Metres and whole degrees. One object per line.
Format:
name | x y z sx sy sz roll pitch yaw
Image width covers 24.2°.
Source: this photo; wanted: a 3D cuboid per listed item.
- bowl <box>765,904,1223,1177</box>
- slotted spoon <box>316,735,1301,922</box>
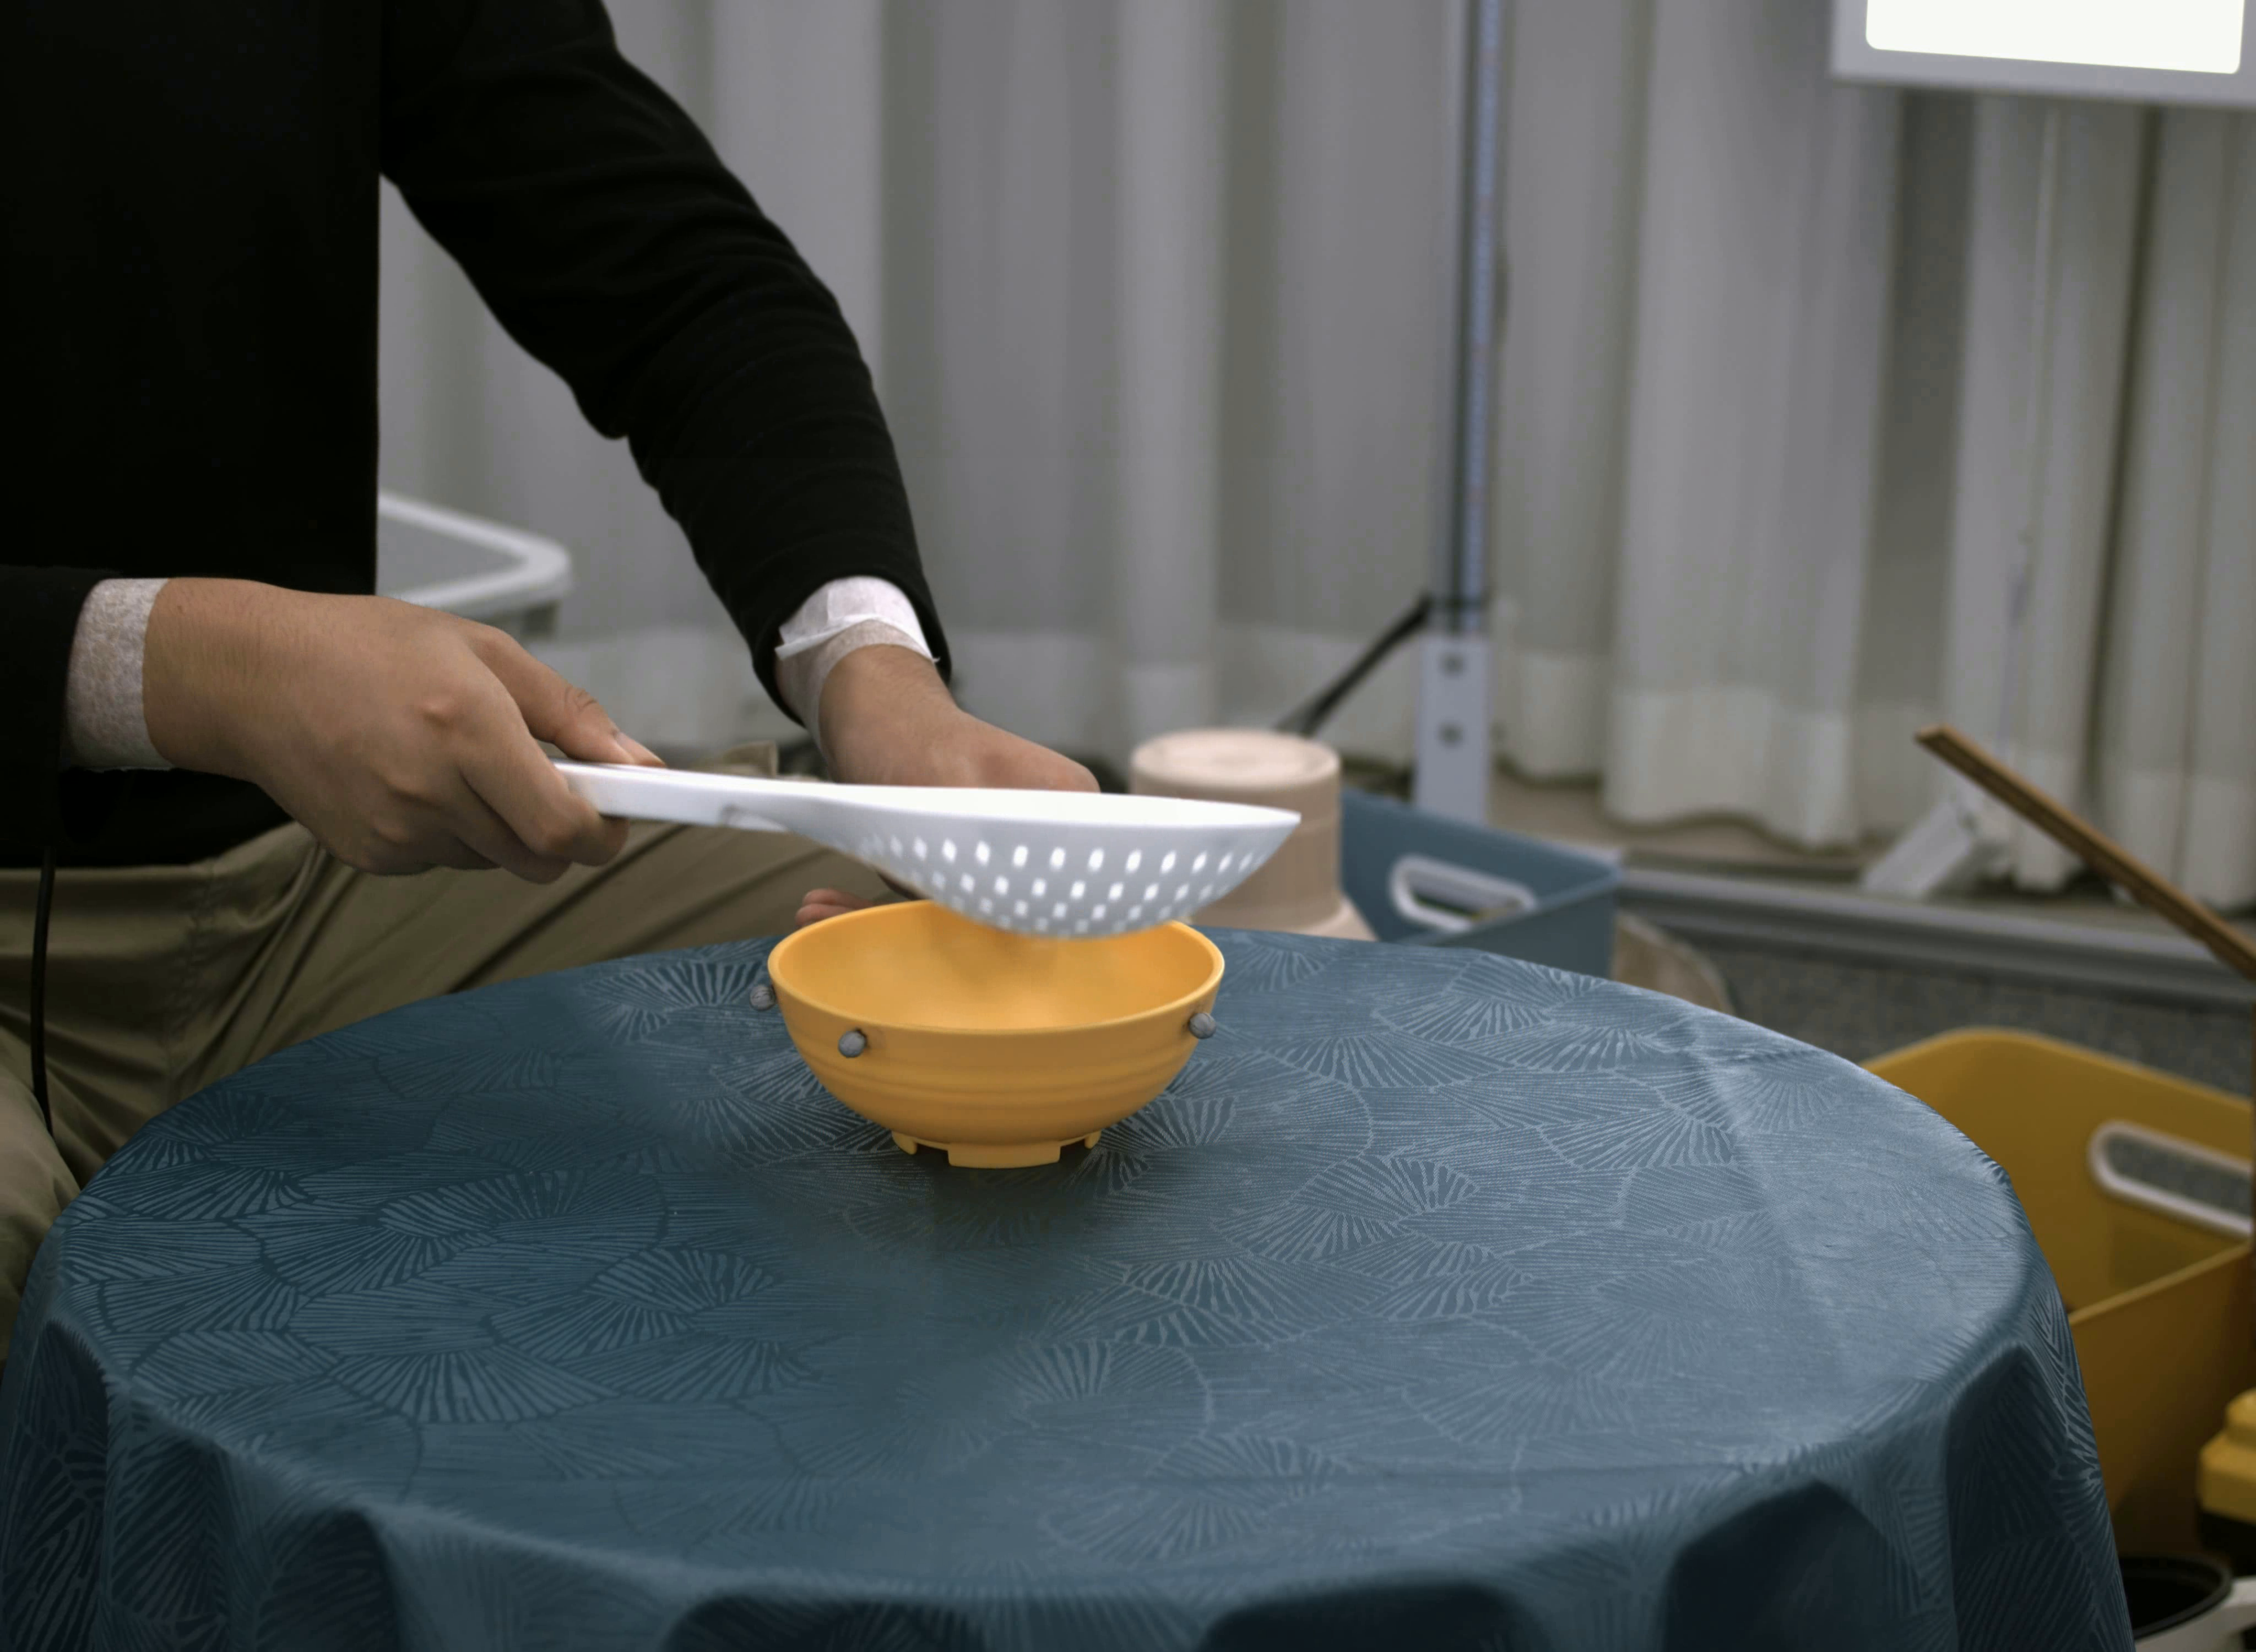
bowl | -0.043 0.072 1.664 0.145 0.060 0.144 3 15 0
slotted spoon | -0.108 -0.010 1.596 0.345 0.046 0.137 10 5 31
